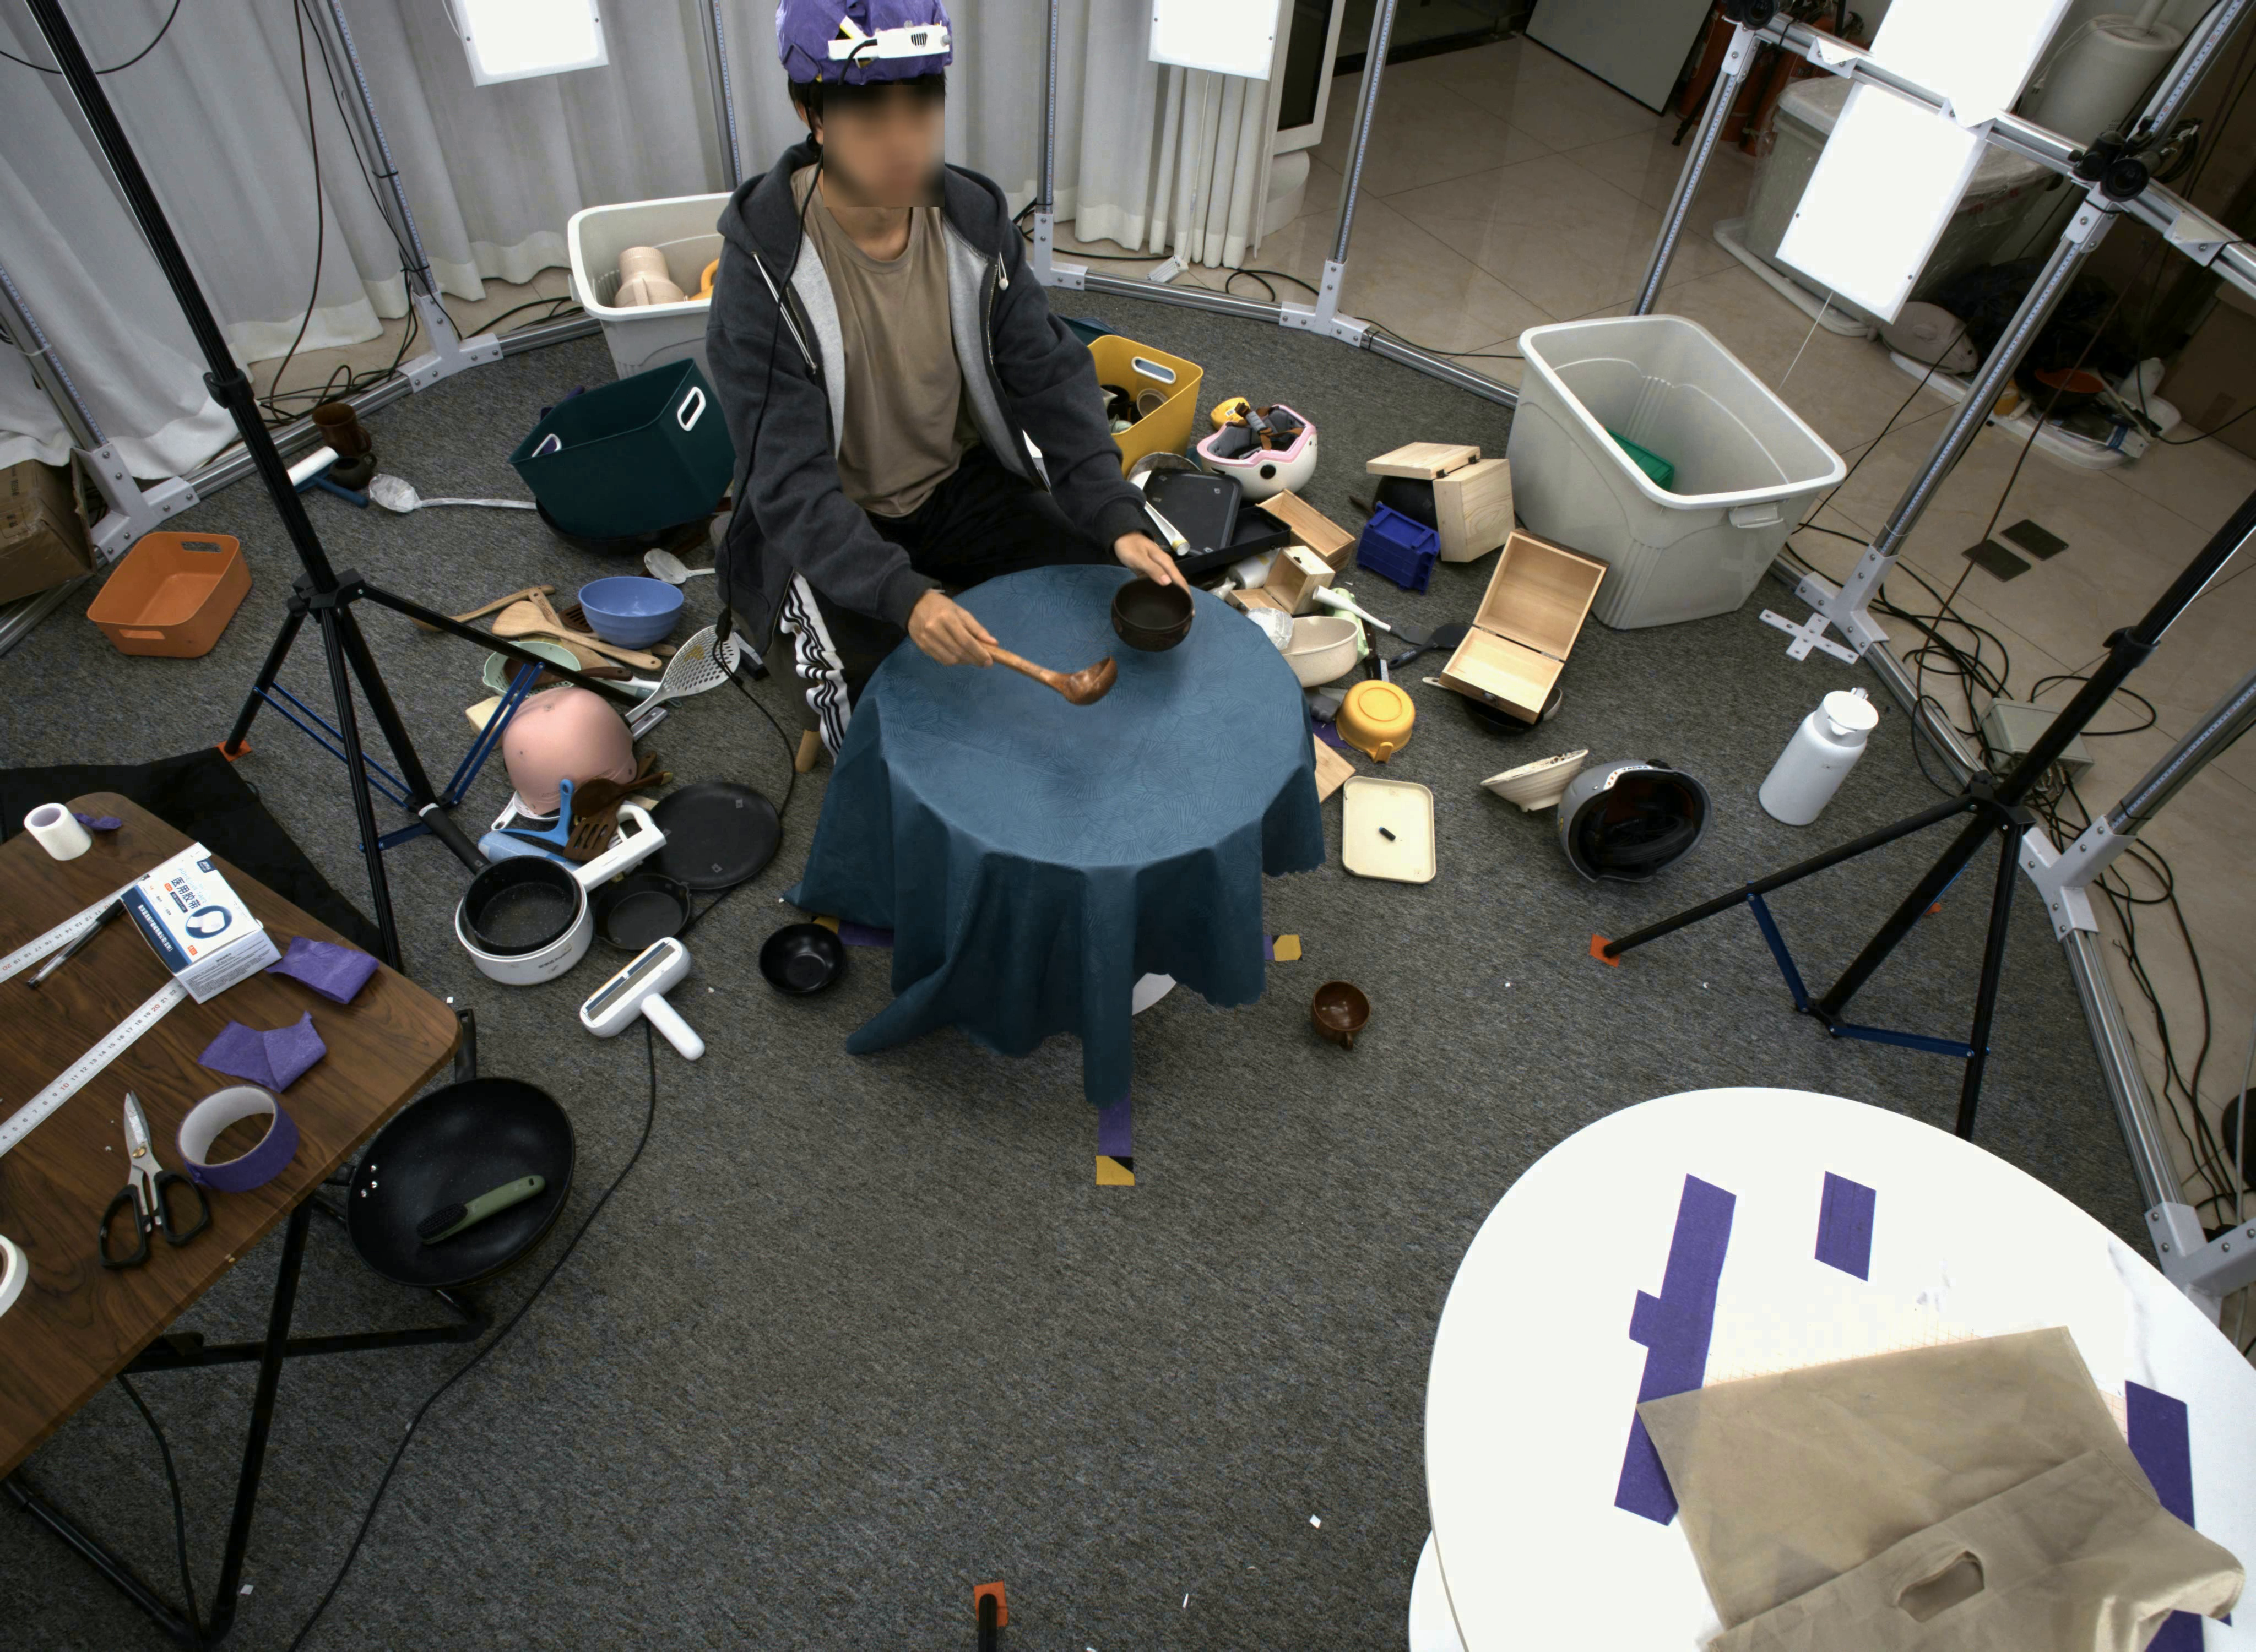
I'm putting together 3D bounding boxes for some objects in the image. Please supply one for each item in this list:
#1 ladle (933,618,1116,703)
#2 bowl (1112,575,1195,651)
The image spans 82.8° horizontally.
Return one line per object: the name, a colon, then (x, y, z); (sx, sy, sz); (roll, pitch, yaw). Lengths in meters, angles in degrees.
ladle: (-0.142, -0.237, 1.709); (0.276, 0.075, 0.083); (26, 52, 14)
bowl: (0.035, -0.297, 1.844); (0.118, 0.068, 0.121); (2, 49, -2)
